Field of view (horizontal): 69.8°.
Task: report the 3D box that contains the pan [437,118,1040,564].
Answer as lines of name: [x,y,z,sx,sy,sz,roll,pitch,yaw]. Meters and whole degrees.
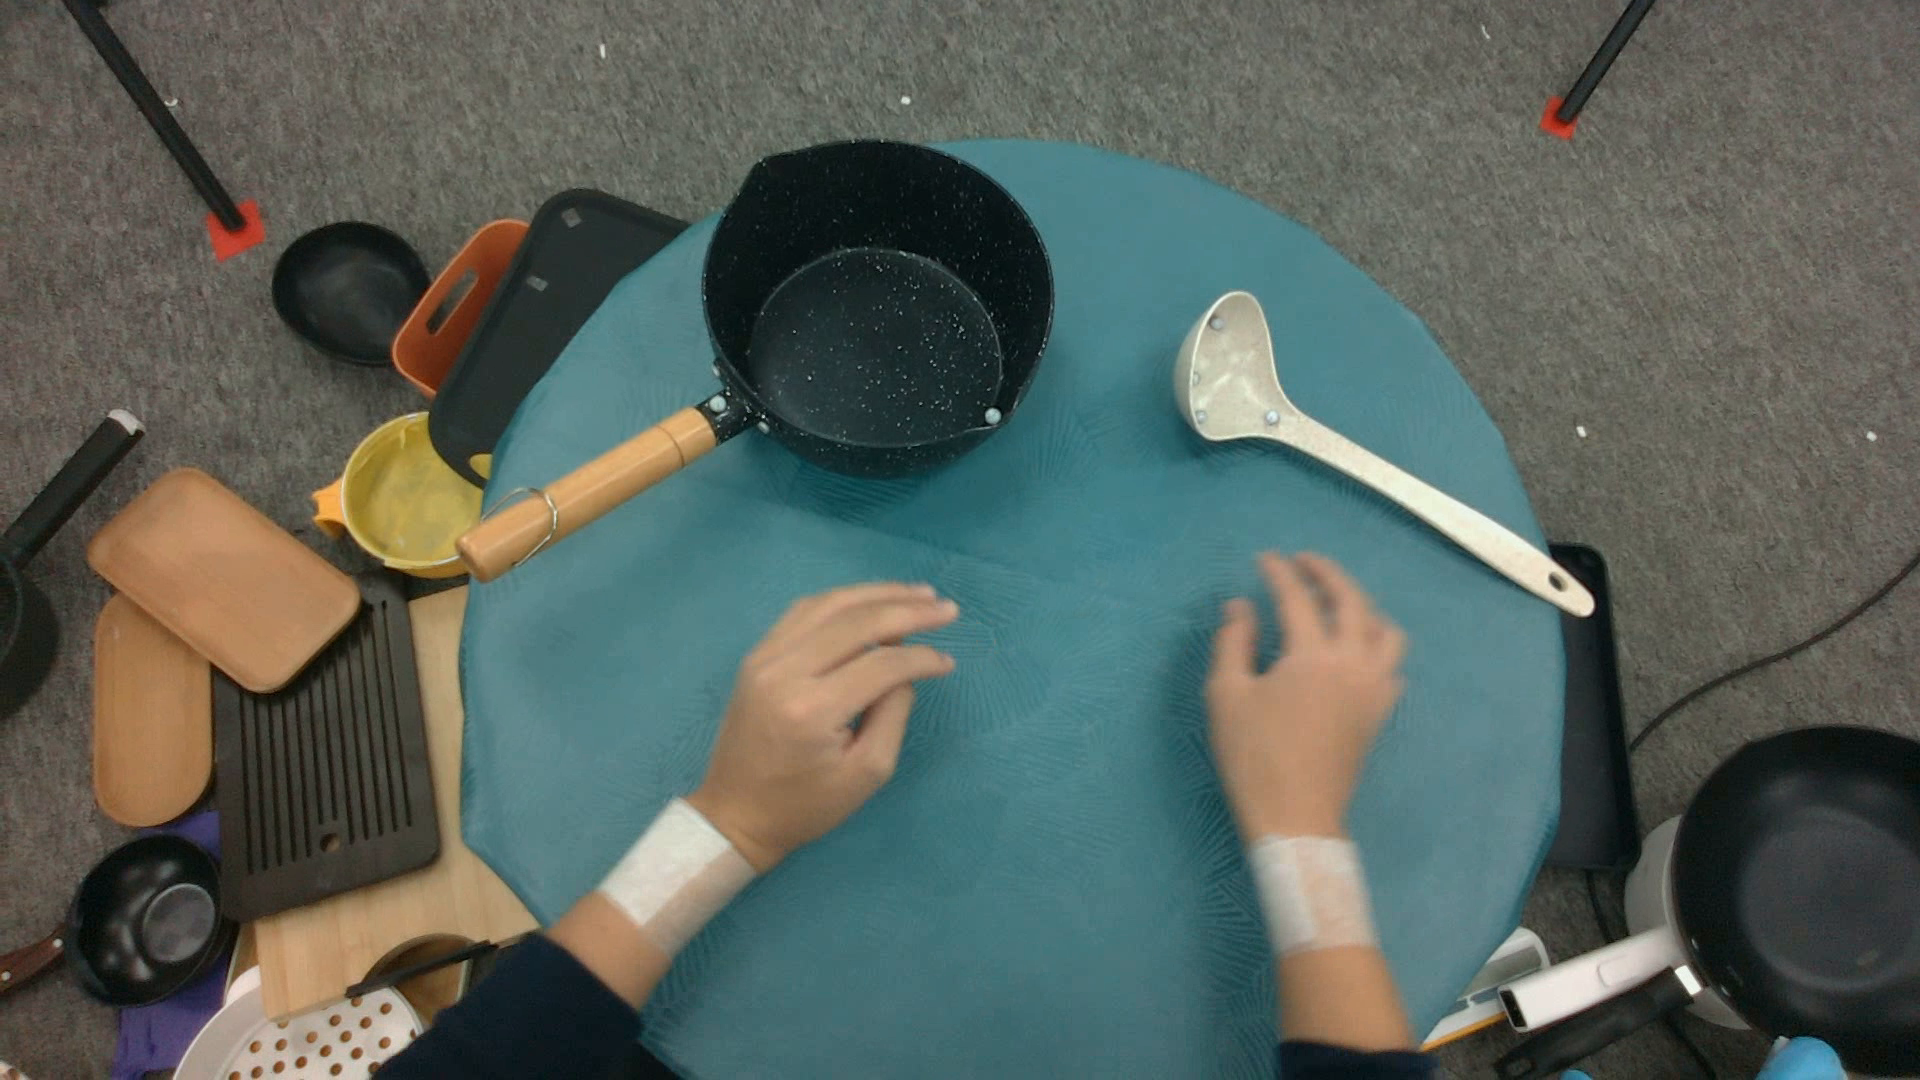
pan: [-0.111,-0.082,0.718,0.344,0.108,0.207,-40,79,-19]

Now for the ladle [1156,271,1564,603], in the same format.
ladle: [0.234,-0.052,0.768,0.275,0.069,0.090,31,61,4]
